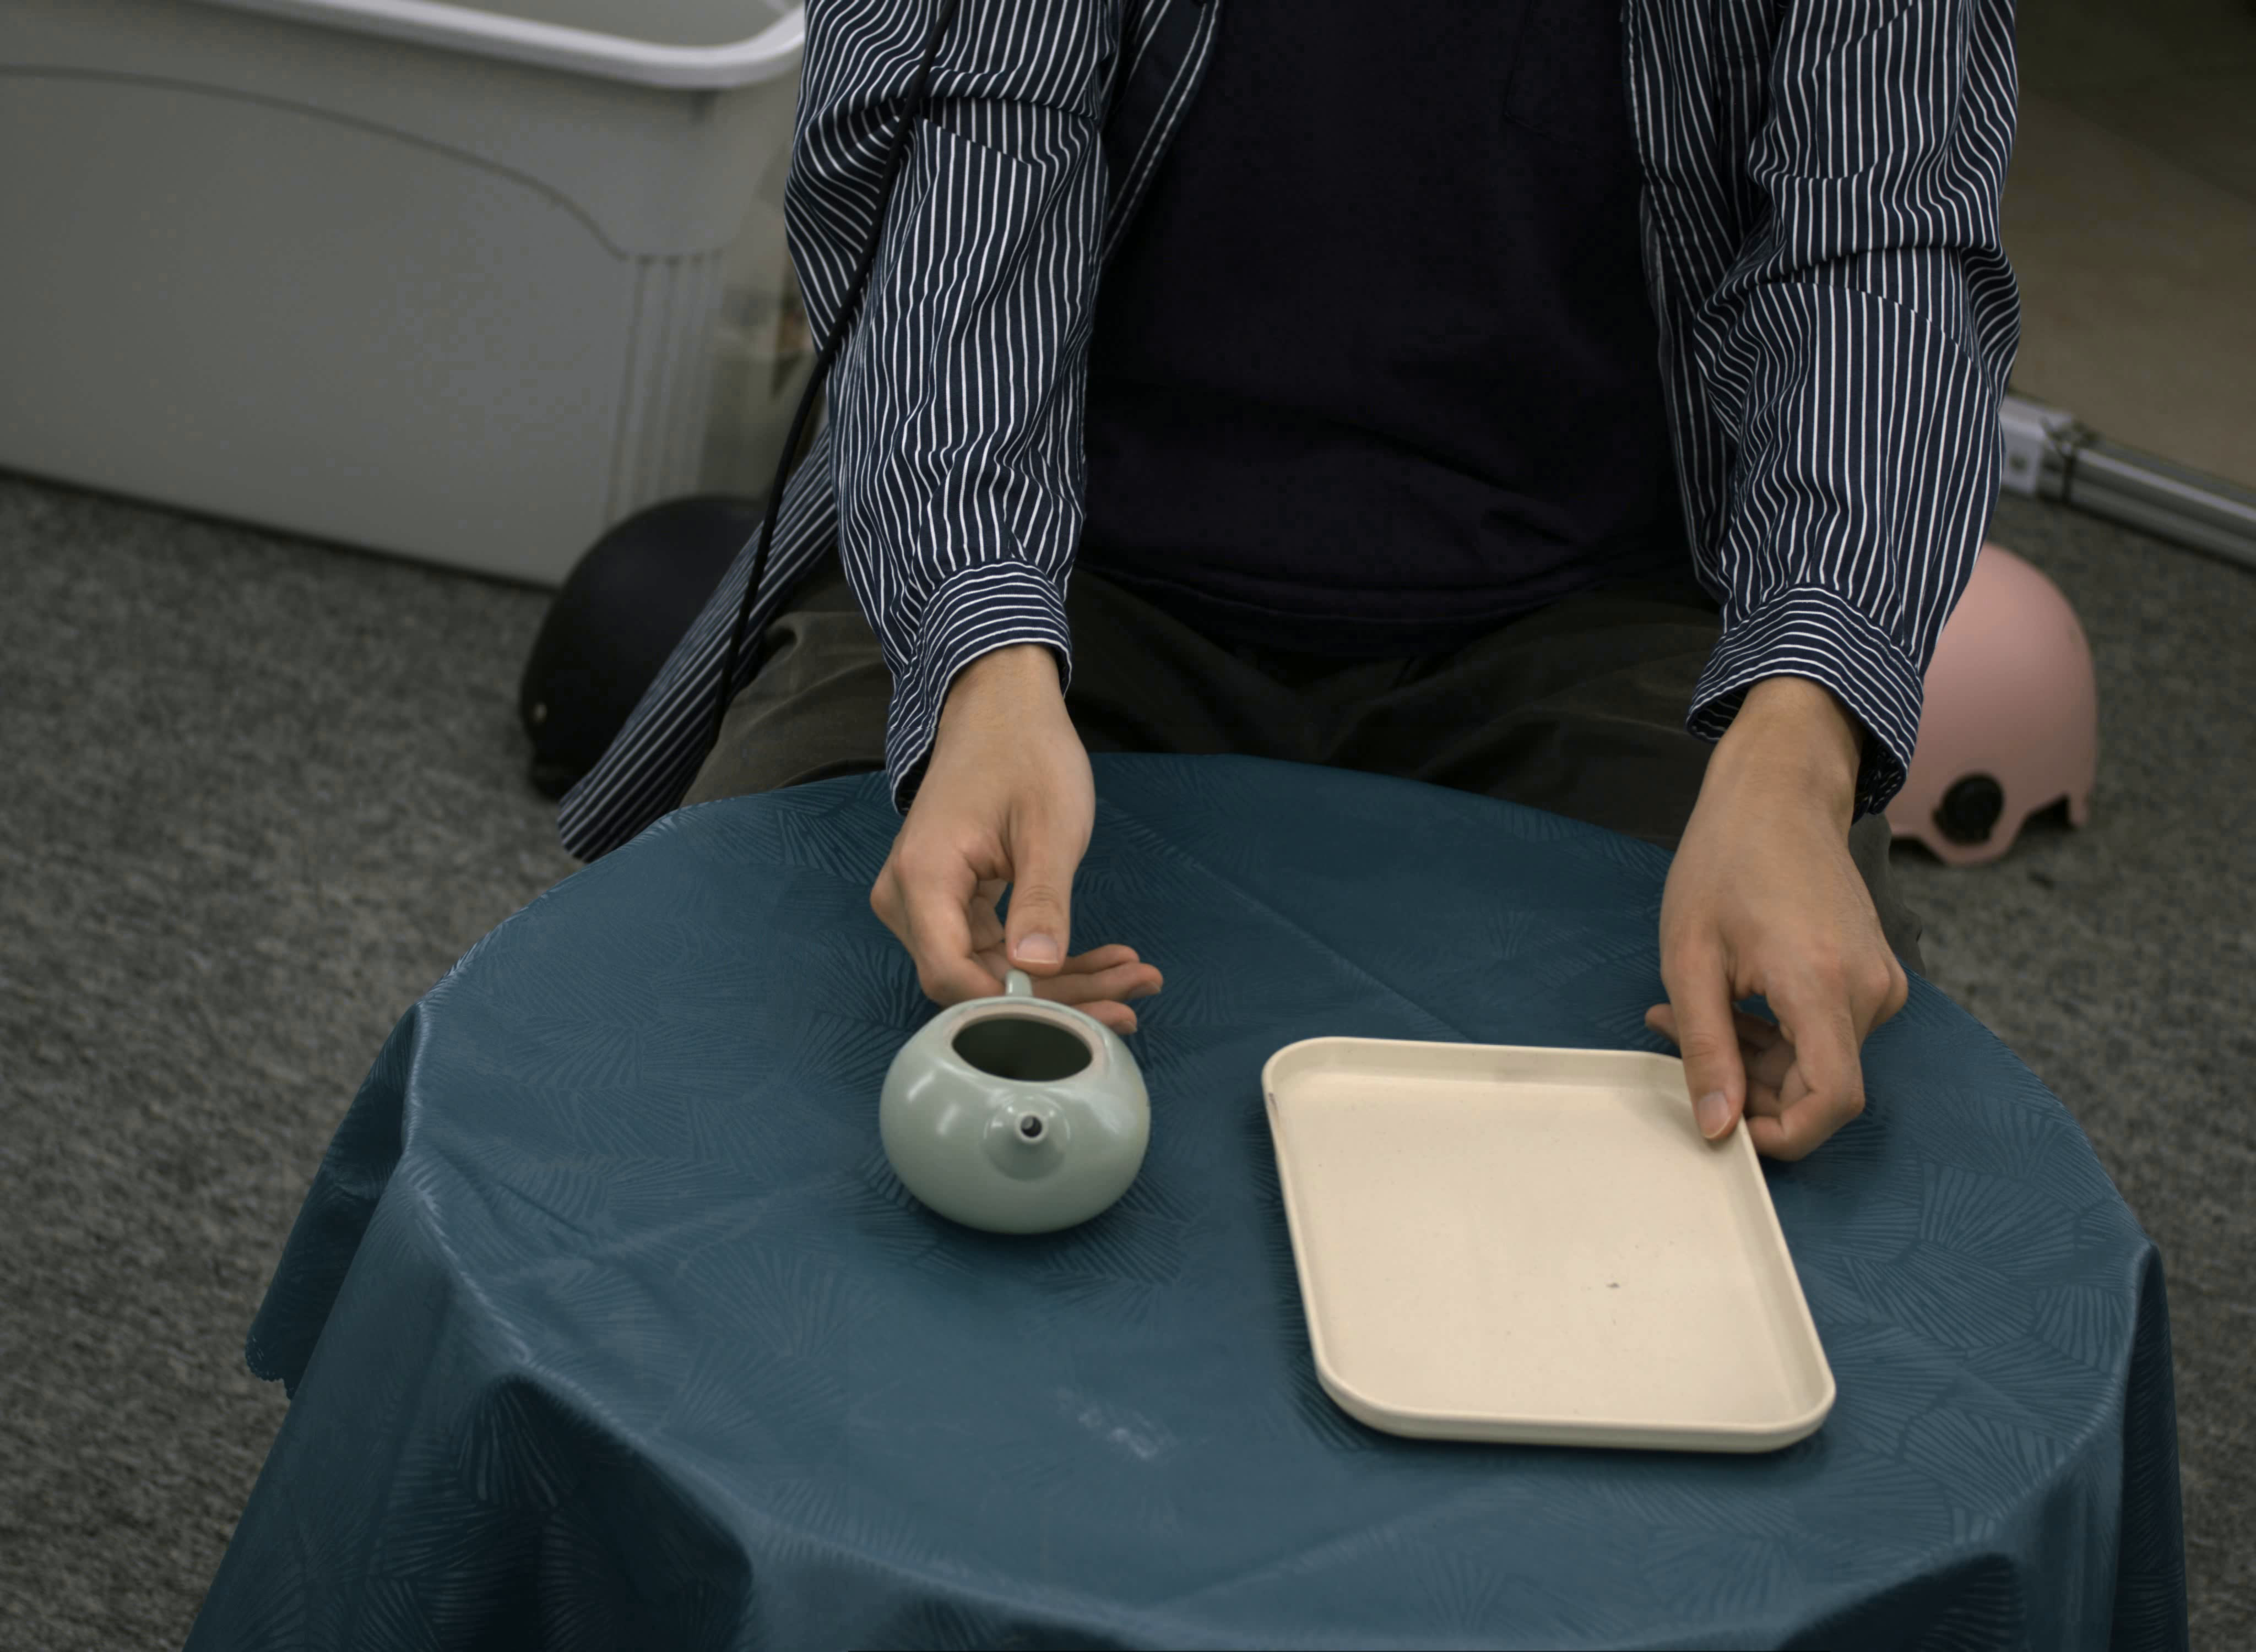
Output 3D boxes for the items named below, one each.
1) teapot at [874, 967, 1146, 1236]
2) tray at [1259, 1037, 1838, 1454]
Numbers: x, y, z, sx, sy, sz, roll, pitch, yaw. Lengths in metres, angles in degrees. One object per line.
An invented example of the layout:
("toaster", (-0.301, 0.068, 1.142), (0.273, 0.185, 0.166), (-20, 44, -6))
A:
("teapot", (-0.039, 0.093, 1.786), (0.091, 0.061, 0.129), (4, 27, -1))
("tray", (0.136, 0.139, 1.778), (0.170, 0.017, 0.241), (4, 27, -6))
